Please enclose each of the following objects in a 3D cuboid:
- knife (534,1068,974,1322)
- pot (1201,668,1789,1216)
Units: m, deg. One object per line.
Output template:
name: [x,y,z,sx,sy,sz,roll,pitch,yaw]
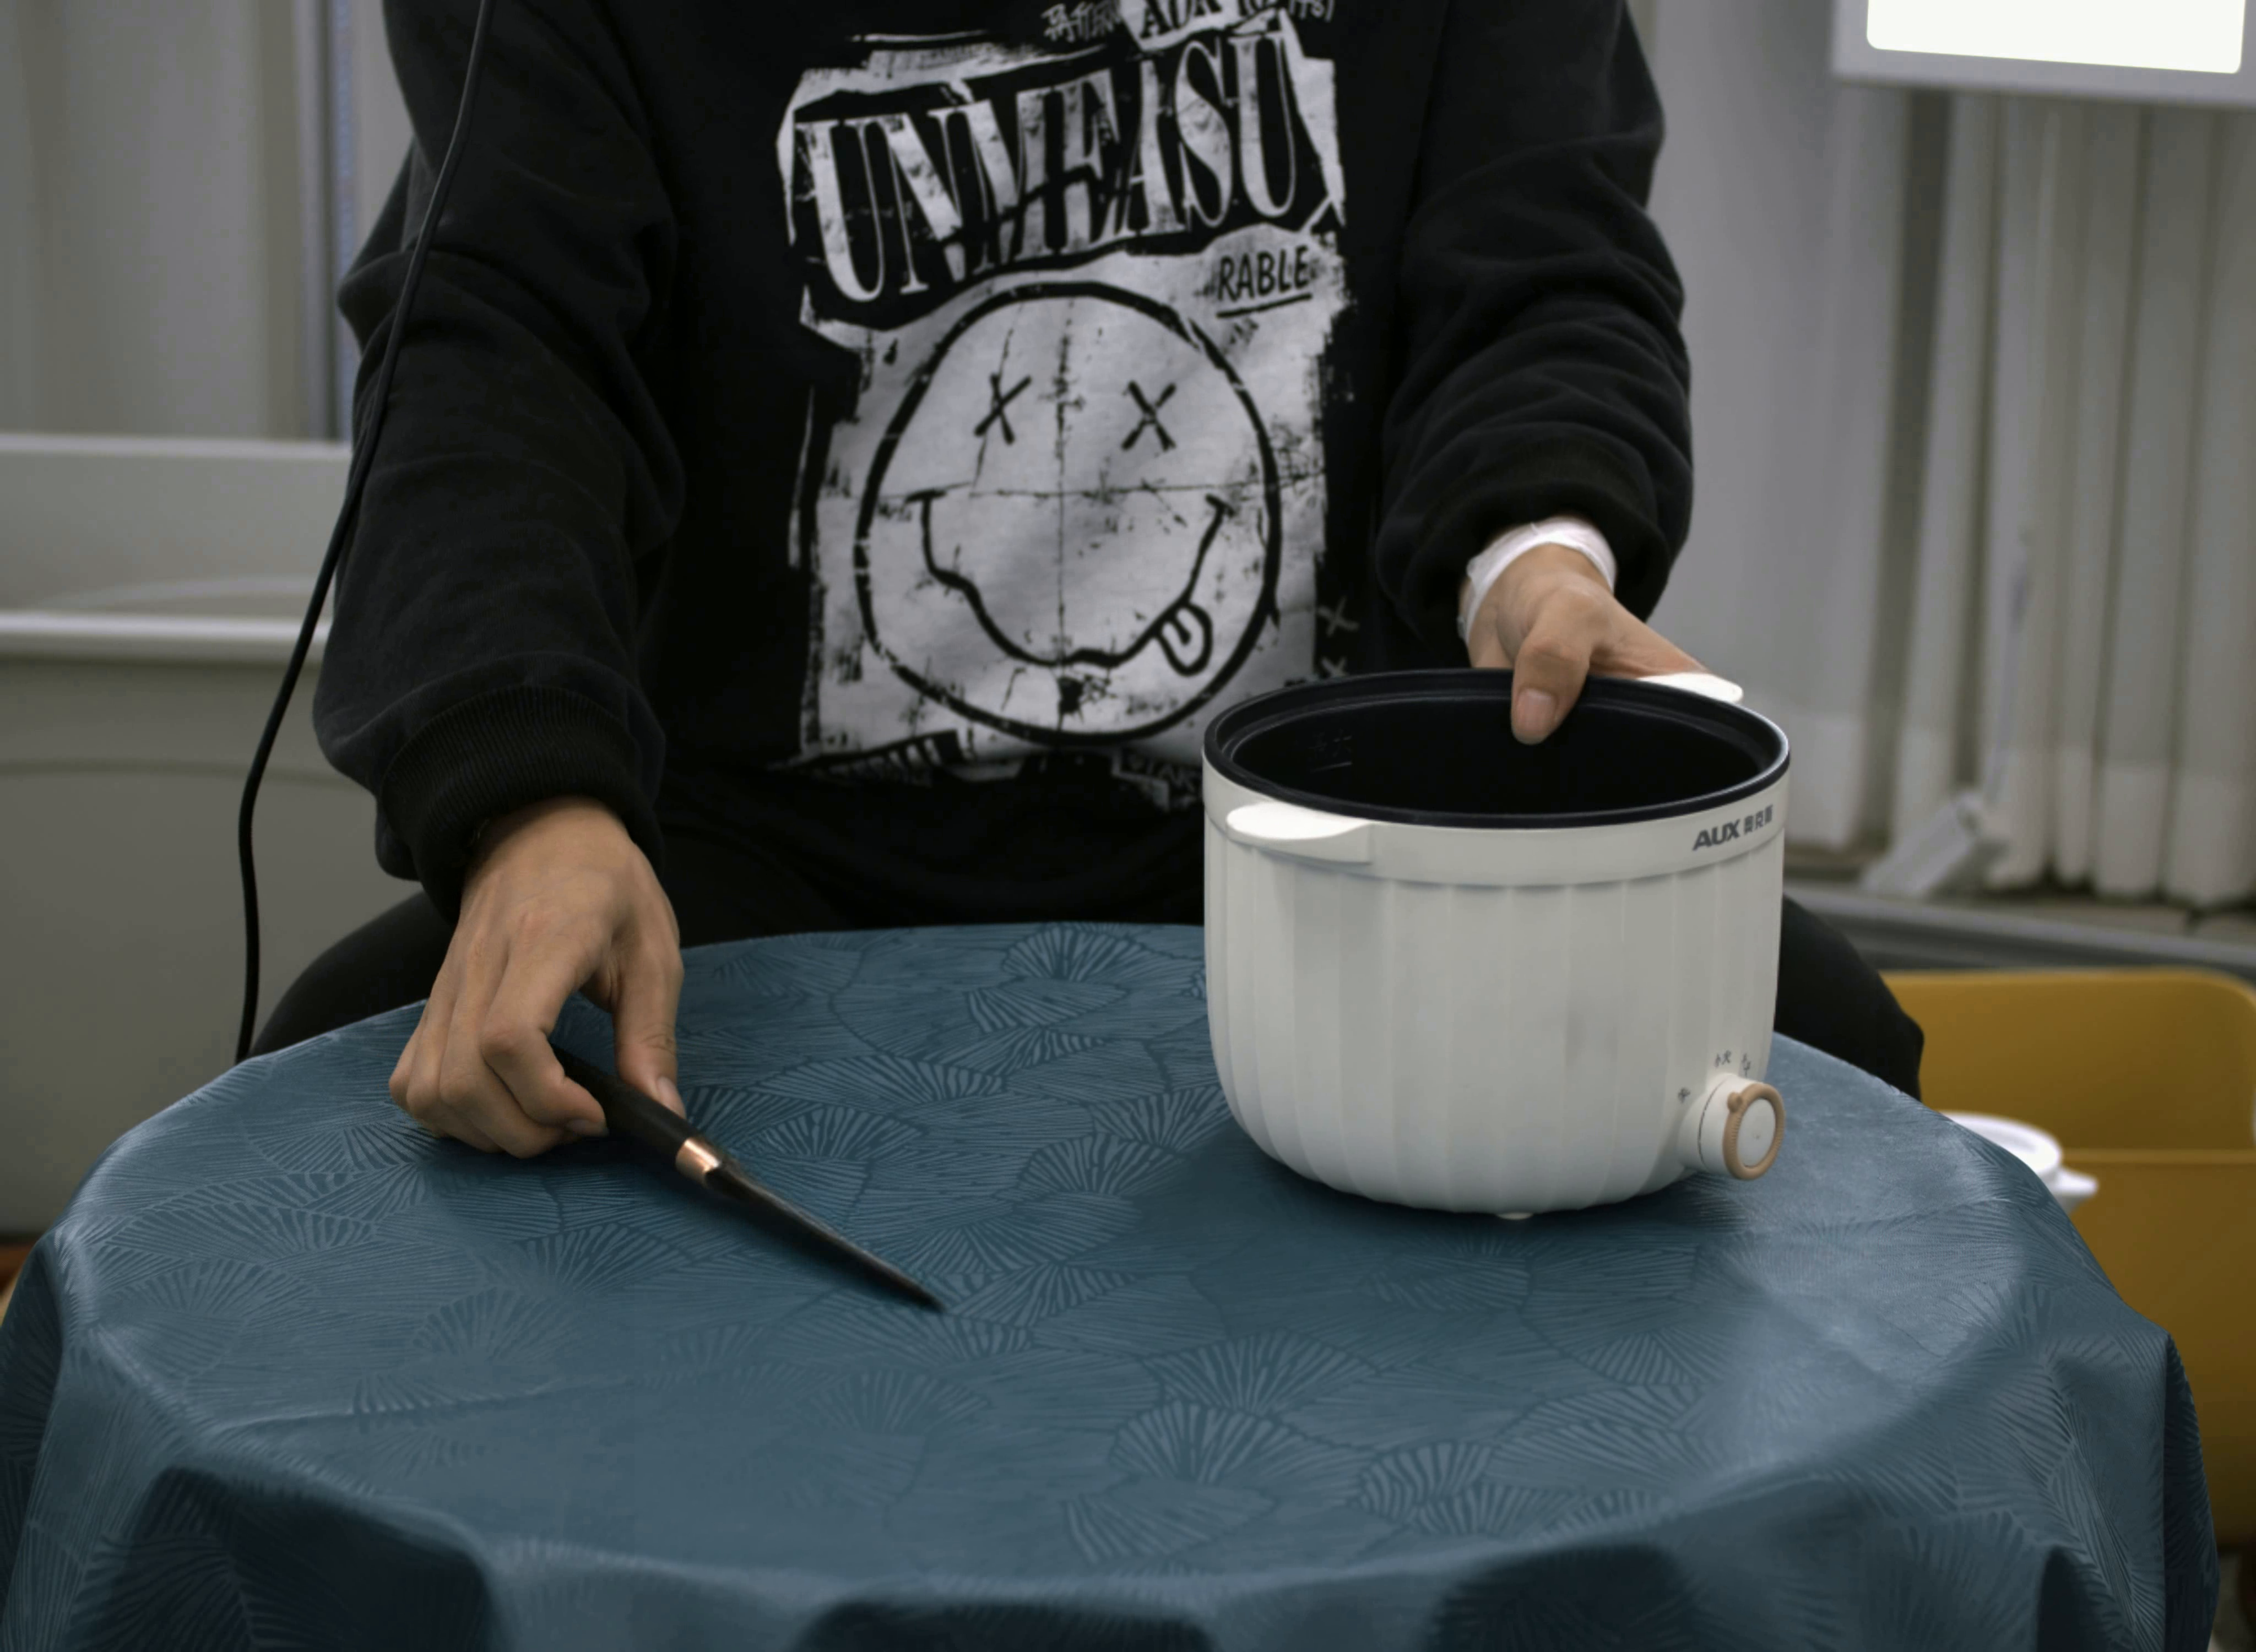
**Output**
knife: [-0.117,0.111,1.600,0.026,0.017,0.222,33,-7,-41]
pot: [0.118,0.037,1.637,0.188,0.144,0.241,9,19,38]
